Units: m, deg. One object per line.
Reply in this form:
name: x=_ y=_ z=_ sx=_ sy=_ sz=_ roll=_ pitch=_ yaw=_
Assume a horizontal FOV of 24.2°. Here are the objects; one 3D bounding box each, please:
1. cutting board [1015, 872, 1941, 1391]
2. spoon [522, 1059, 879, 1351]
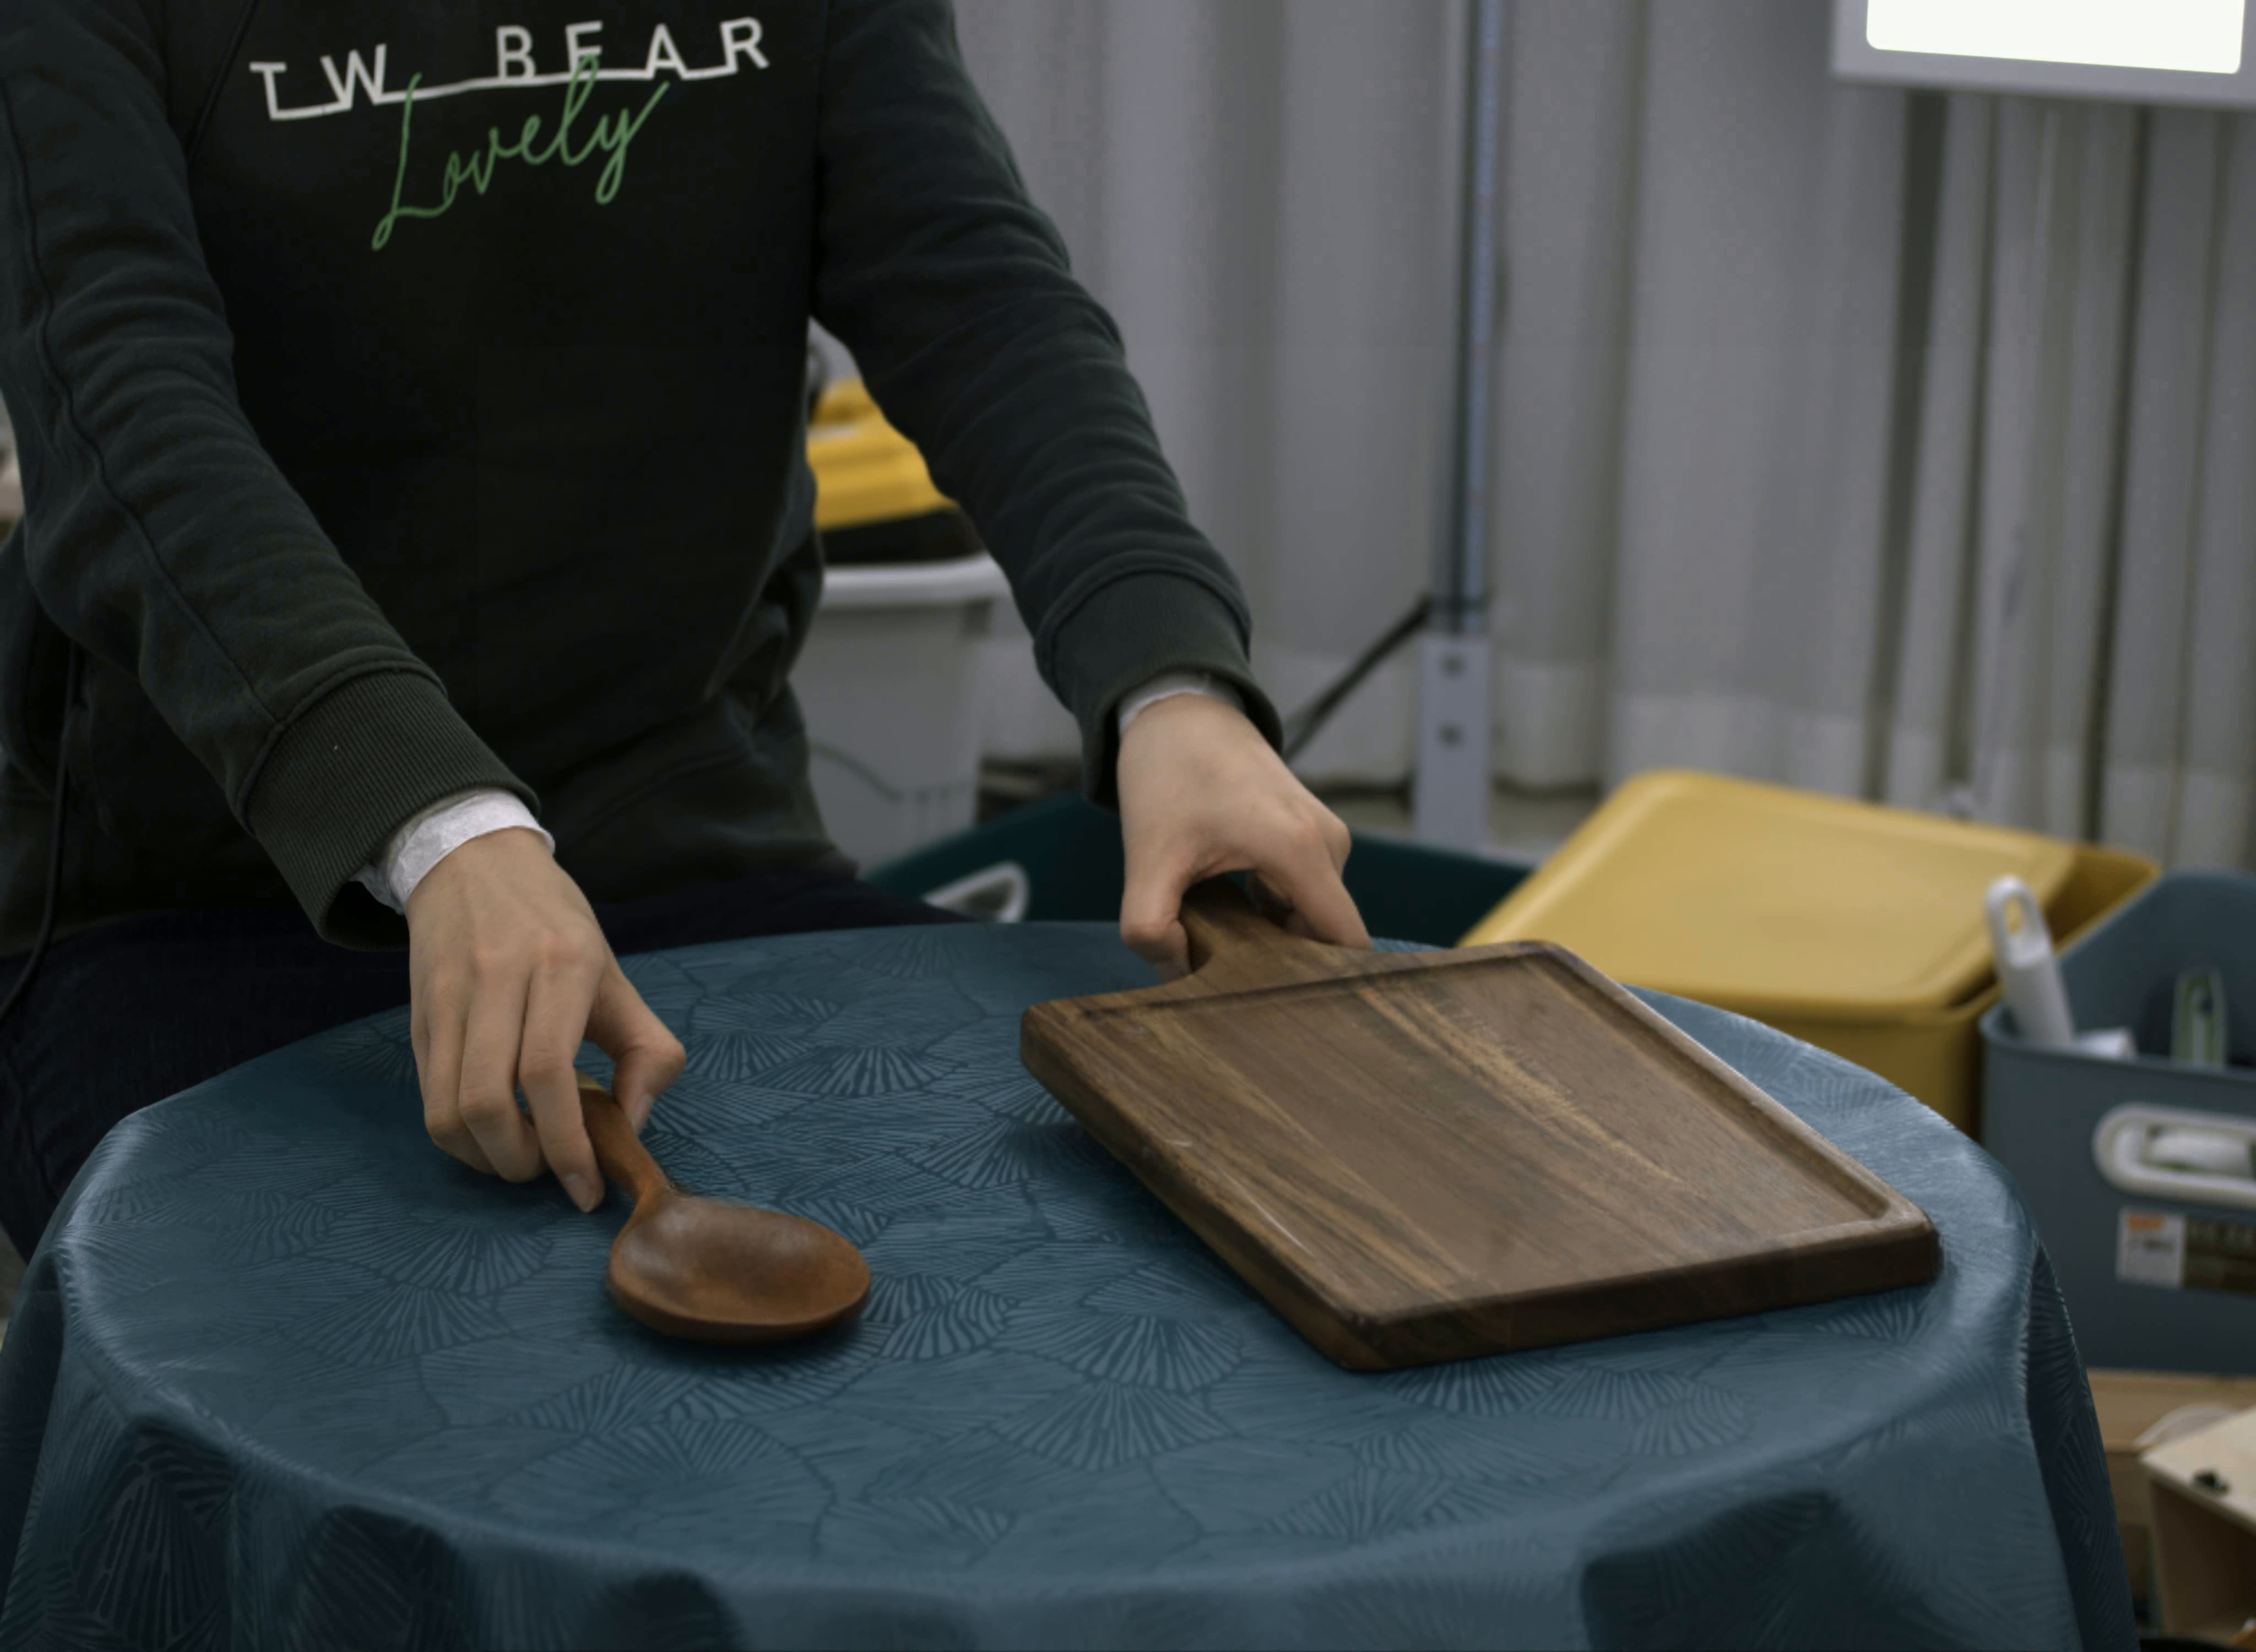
cutting board: x=0.082 y=0.082 z=1.658 sx=0.202 sy=0.023 sz=0.347 roll=-8 pitch=22 yaw=-23
spoon: x=-0.137 y=0.113 z=1.571 sx=0.076 sy=0.017 sz=0.213 roll=-9 pitch=22 yaw=-23
